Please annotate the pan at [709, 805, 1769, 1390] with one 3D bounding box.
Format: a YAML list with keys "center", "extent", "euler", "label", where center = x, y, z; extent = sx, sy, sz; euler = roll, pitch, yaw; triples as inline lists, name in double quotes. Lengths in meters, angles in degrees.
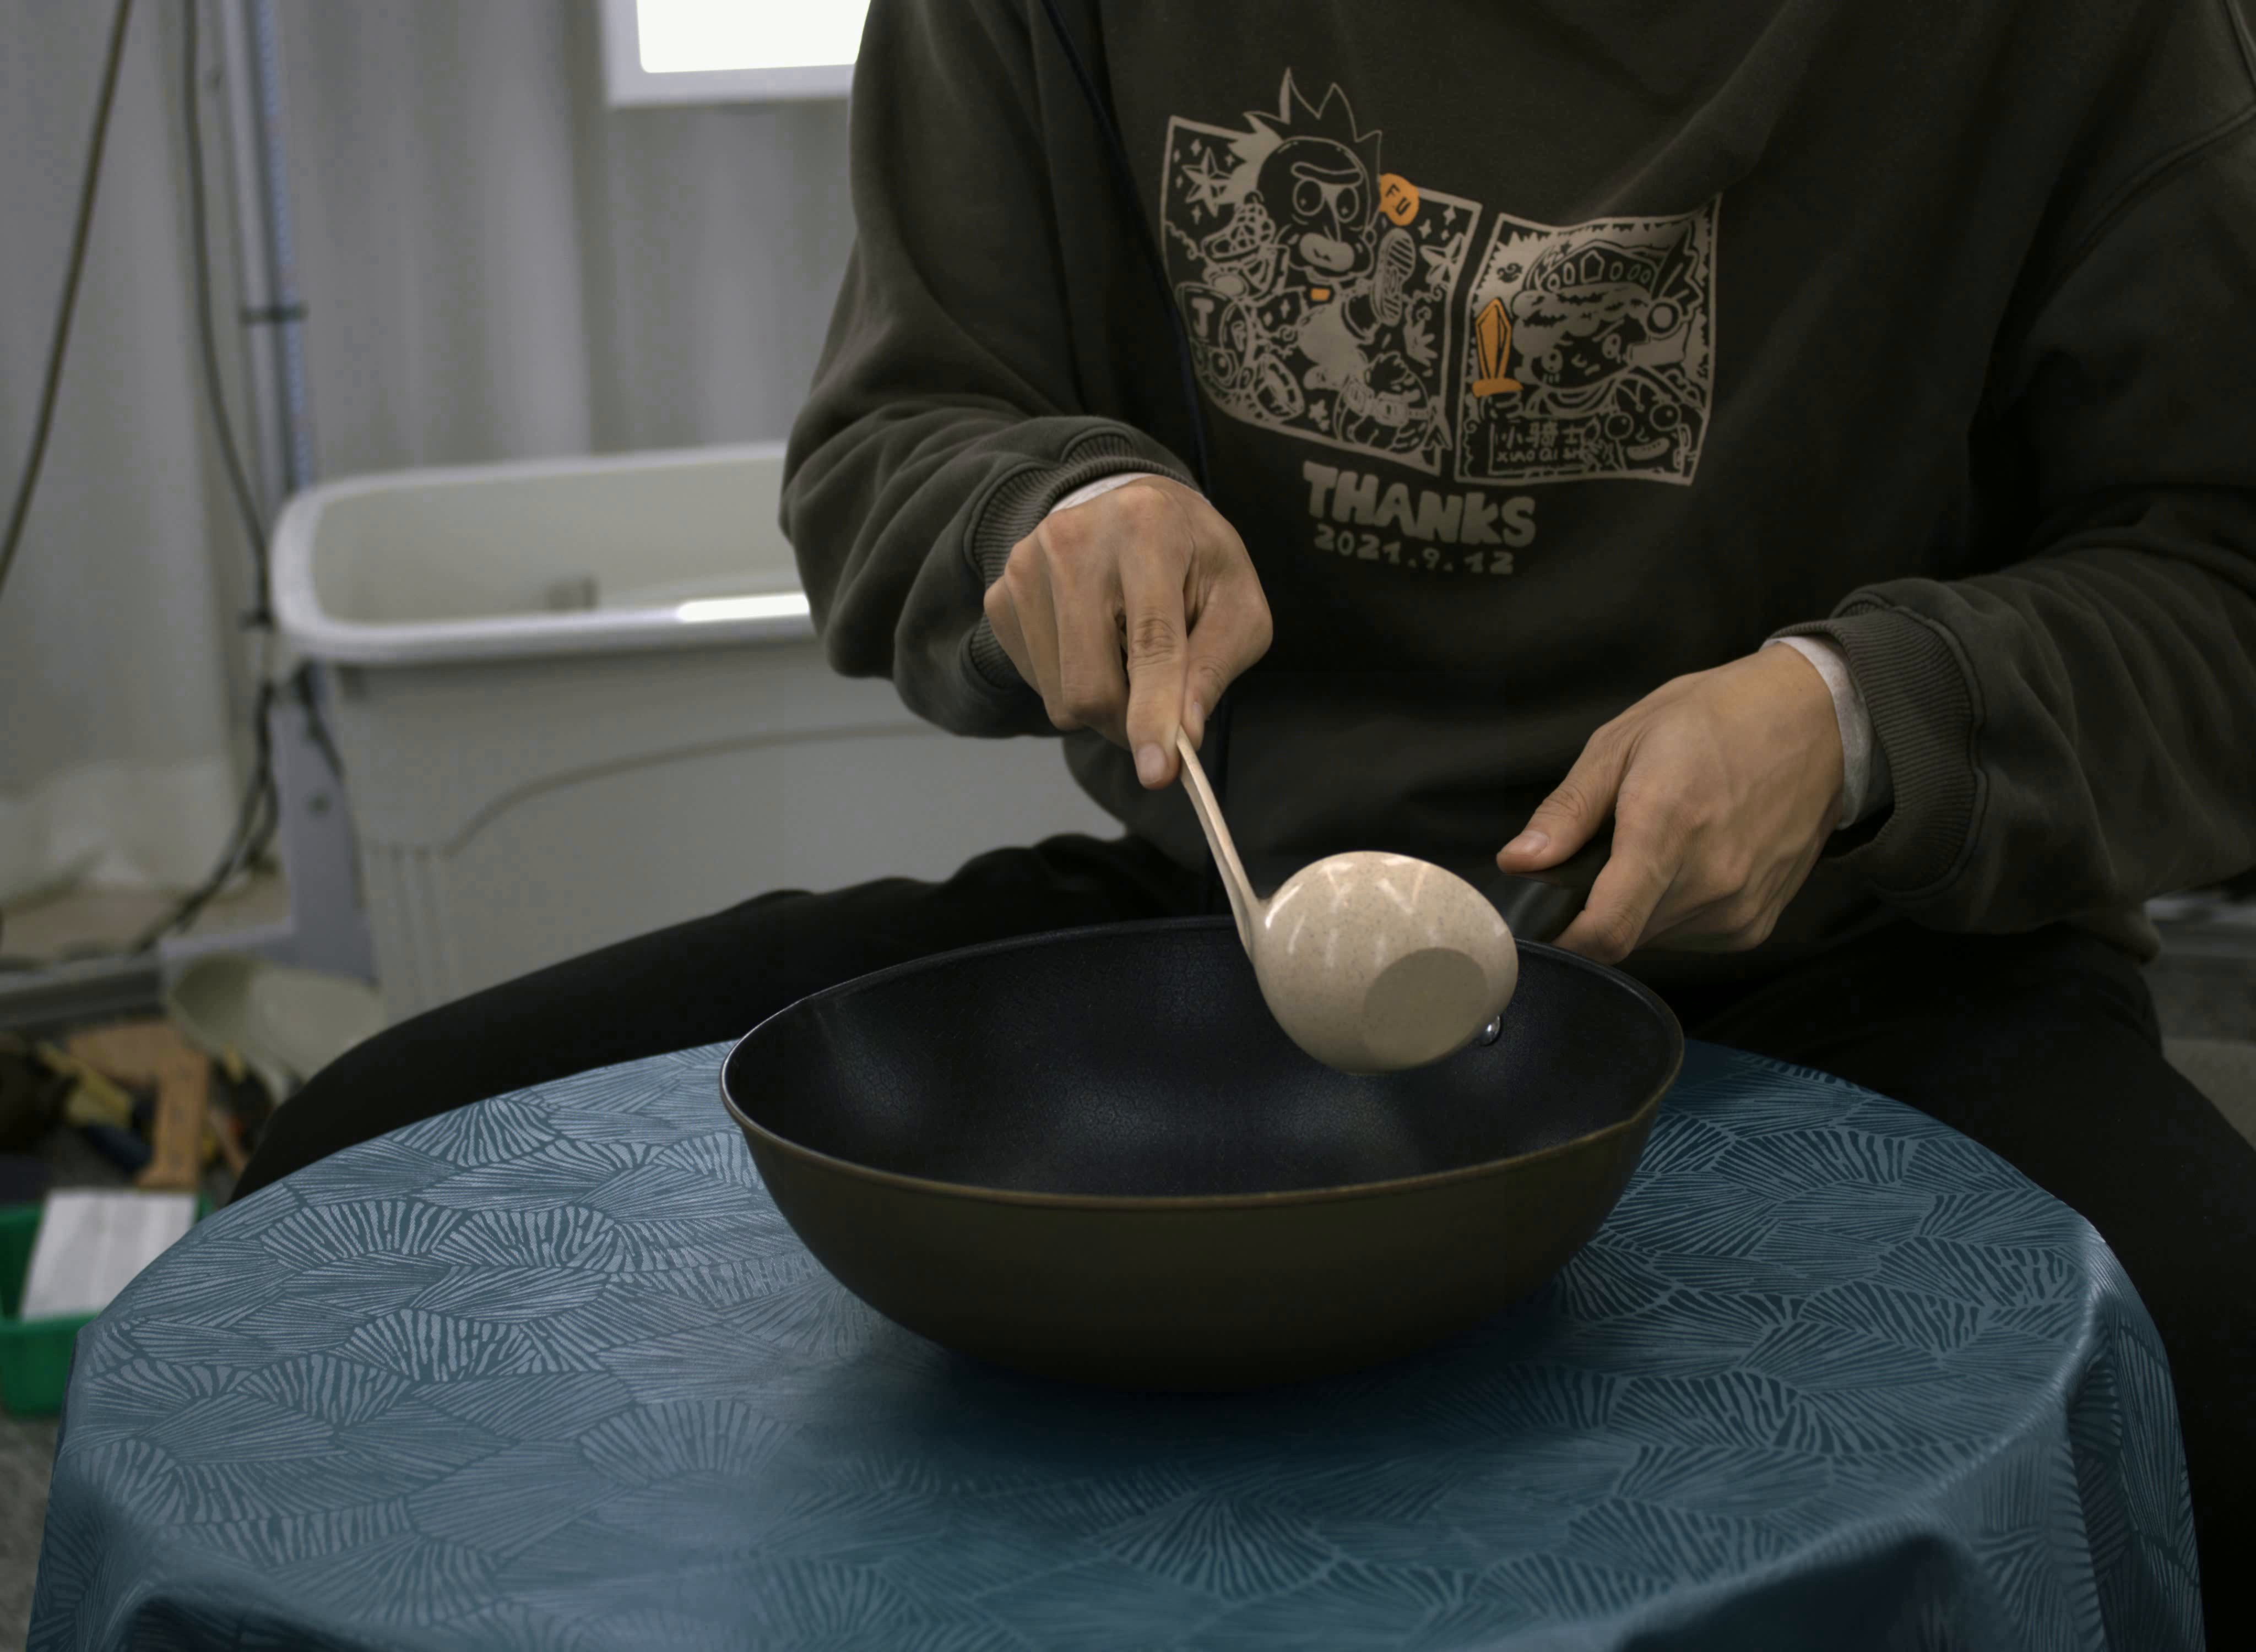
- center: [0.071, 0.080, 1.678]
  extent: [0.289, 0.086, 0.463]
  euler: [7, 17, 34]
  label: "pan"

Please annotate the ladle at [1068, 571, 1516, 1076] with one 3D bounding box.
- center: [0.048, -0.017, 1.669]
  extent: [0.072, 0.071, 0.258]
  euler: [-18, 38, -5]
  label: "ladle"
